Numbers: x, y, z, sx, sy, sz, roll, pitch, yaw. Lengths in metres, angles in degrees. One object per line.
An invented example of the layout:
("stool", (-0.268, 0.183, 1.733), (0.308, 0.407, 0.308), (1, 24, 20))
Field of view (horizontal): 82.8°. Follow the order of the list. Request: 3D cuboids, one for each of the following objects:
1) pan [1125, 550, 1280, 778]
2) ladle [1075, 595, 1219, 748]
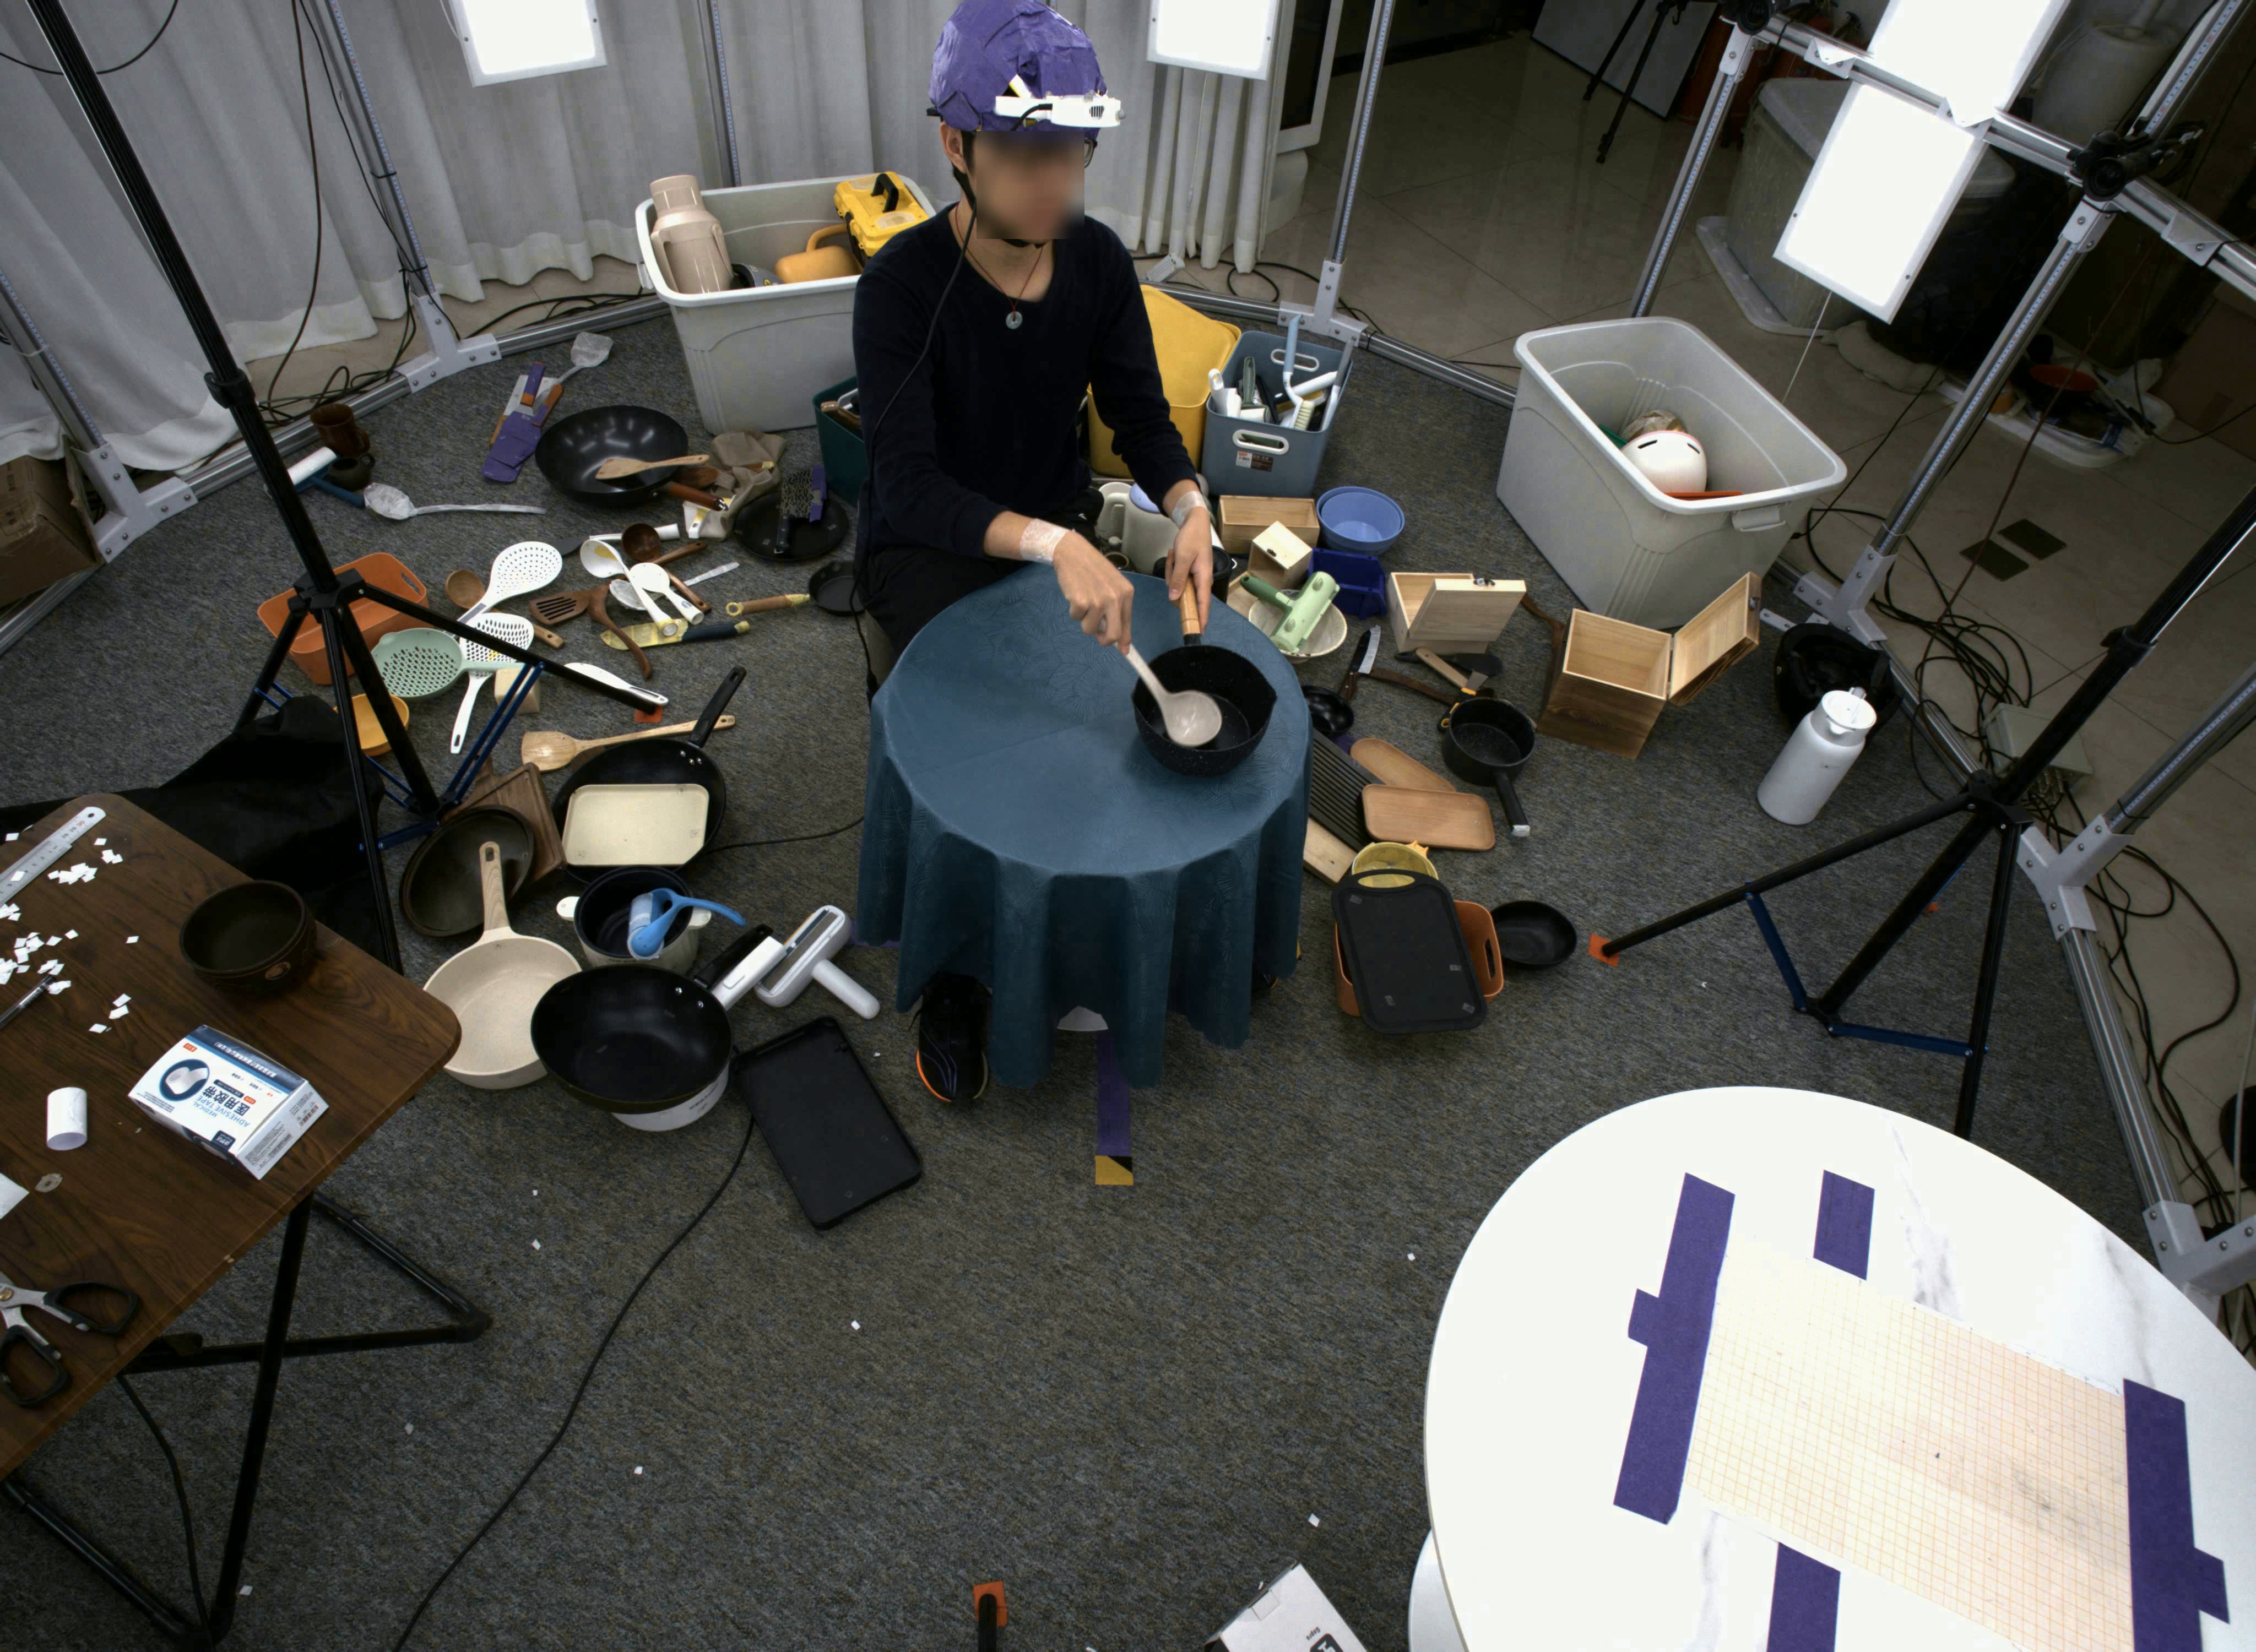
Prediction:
("pan", (0.089, -0.223, 1.779), (0.207, 0.106, 0.351), (-4, 57, -6))
("ladle", (0.029, -0.206, 1.683), (0.070, 0.269, 0.091), (3, 55, 41))
